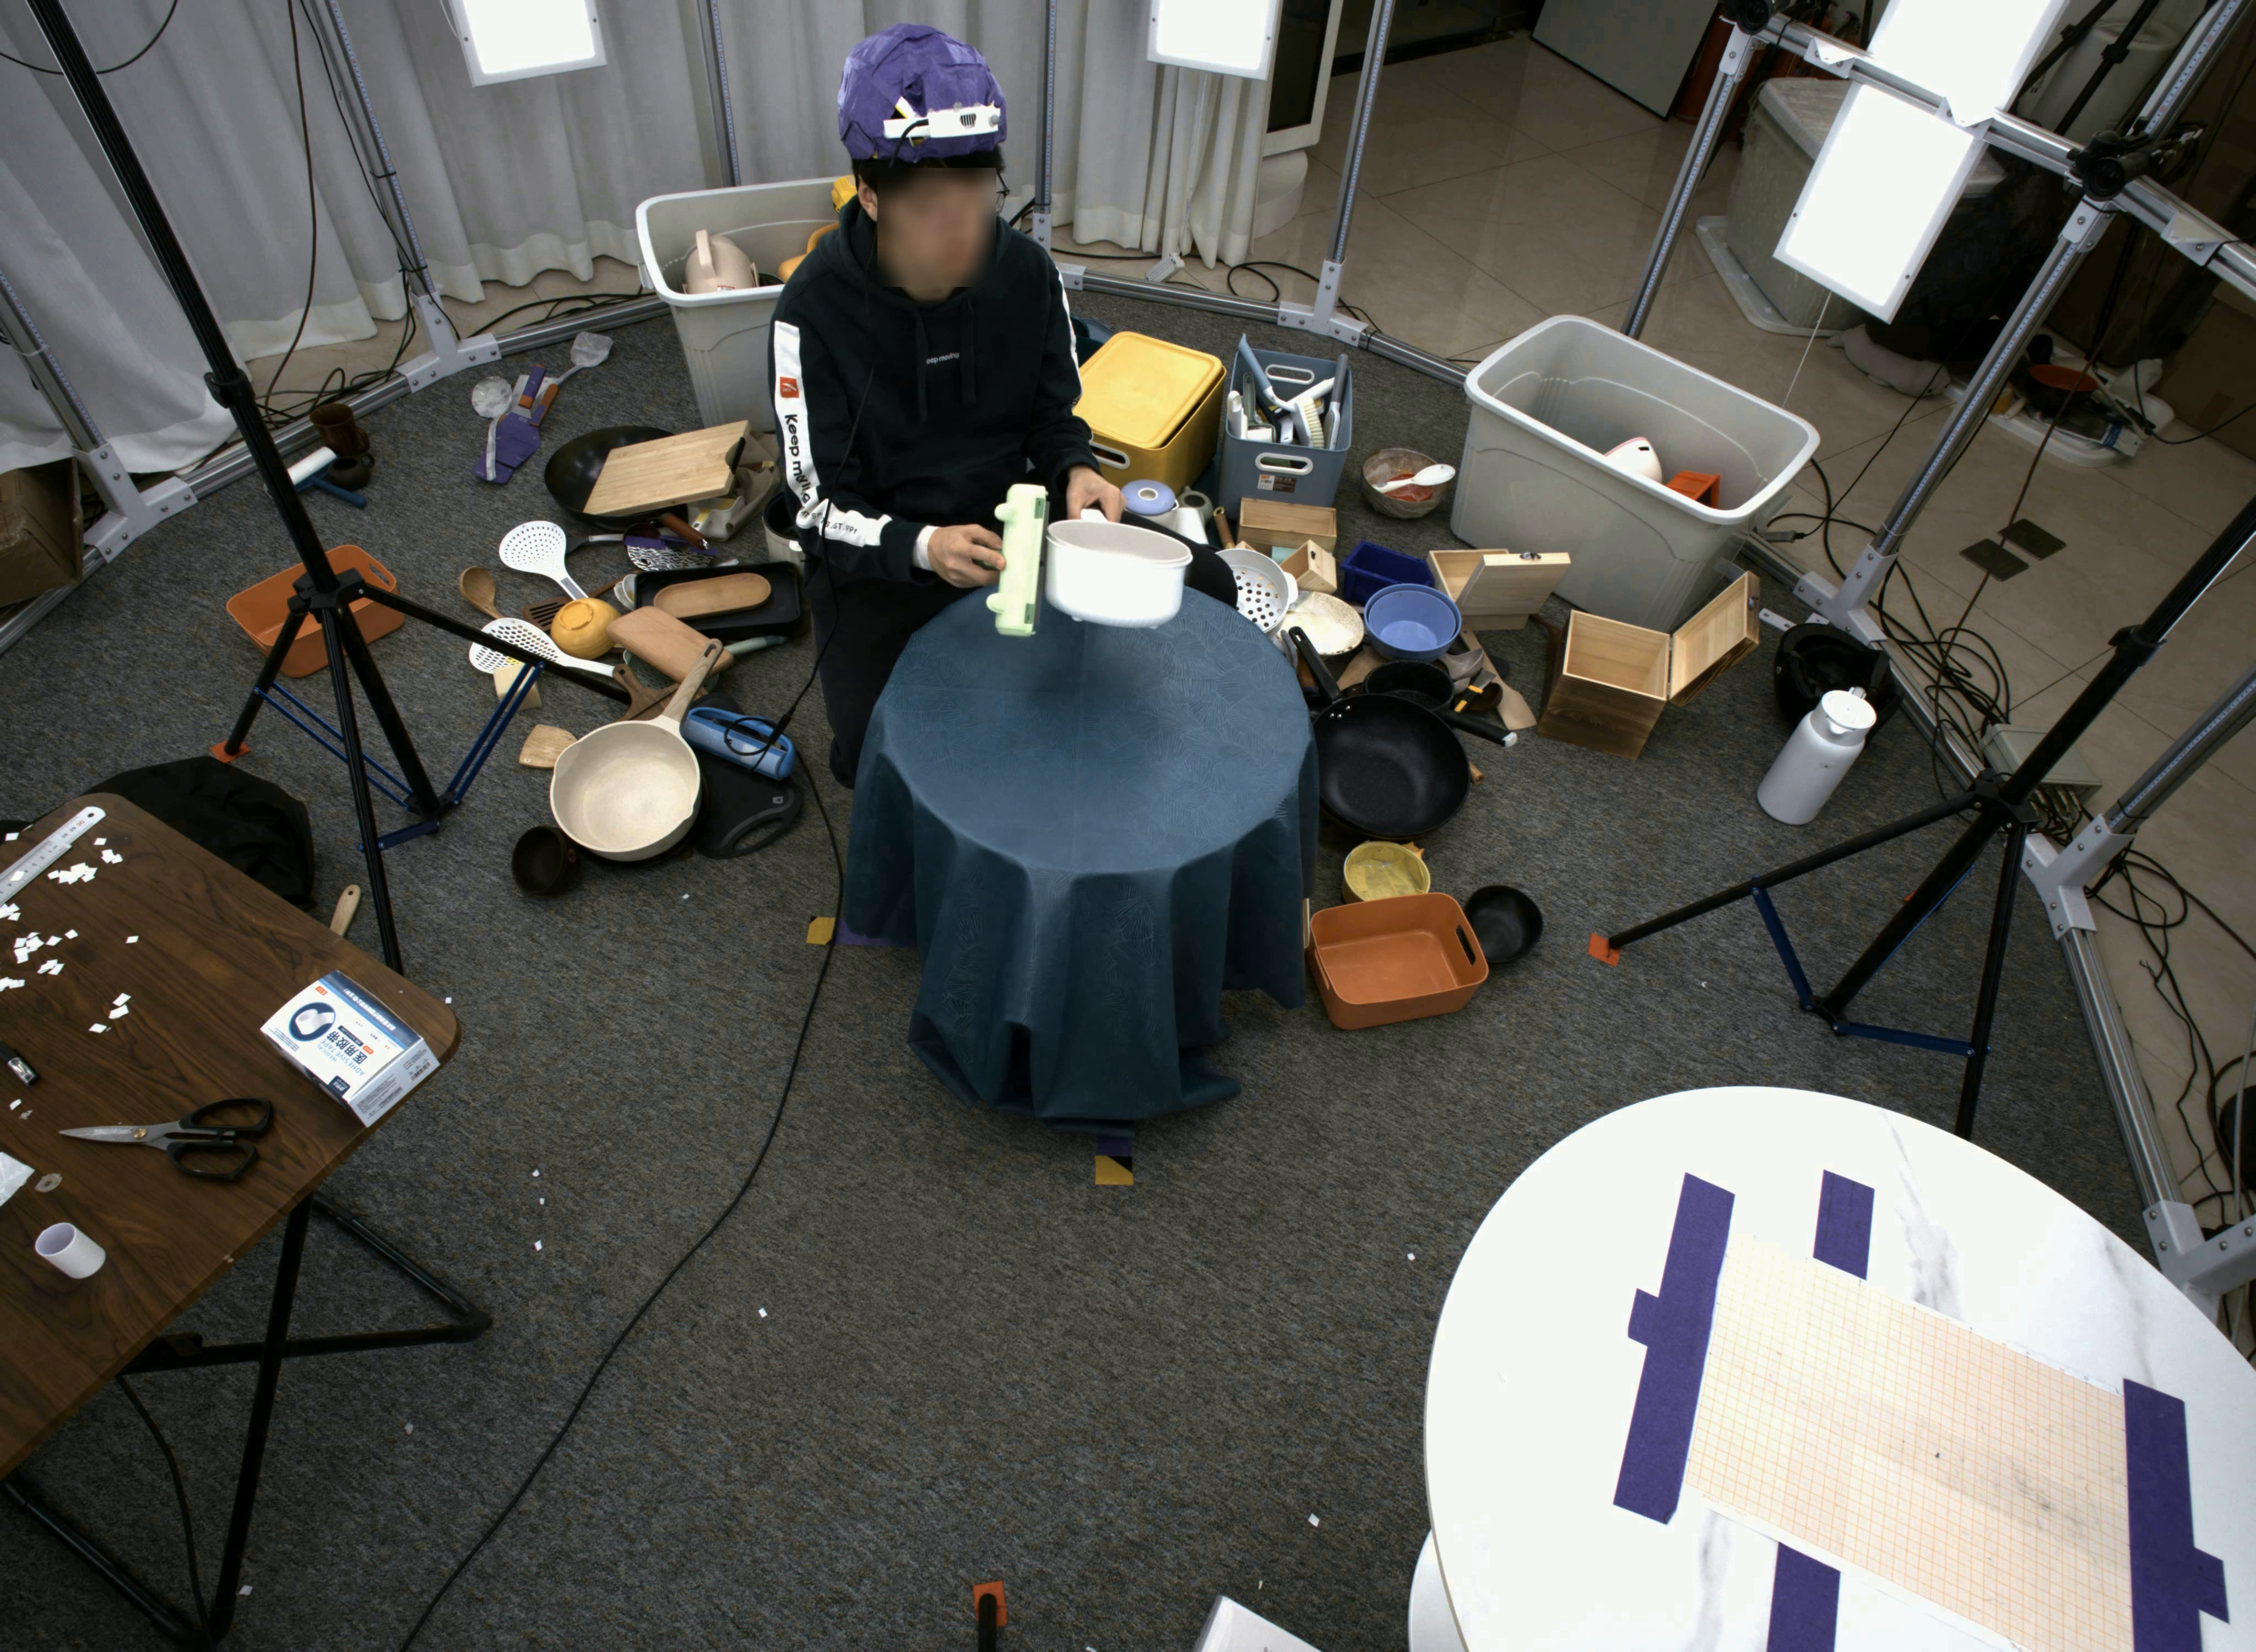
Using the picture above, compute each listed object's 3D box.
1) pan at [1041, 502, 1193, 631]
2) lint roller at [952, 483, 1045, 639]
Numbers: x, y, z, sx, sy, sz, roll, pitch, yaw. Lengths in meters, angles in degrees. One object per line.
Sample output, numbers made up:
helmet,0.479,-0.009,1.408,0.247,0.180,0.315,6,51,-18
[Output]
pan,-0.035,-0.369,1.809,0.200,0.100,0.362,3,25,-14
lint roller,-0.189,-0.355,1.718,0.185,0.198,0.082,11,8,38
